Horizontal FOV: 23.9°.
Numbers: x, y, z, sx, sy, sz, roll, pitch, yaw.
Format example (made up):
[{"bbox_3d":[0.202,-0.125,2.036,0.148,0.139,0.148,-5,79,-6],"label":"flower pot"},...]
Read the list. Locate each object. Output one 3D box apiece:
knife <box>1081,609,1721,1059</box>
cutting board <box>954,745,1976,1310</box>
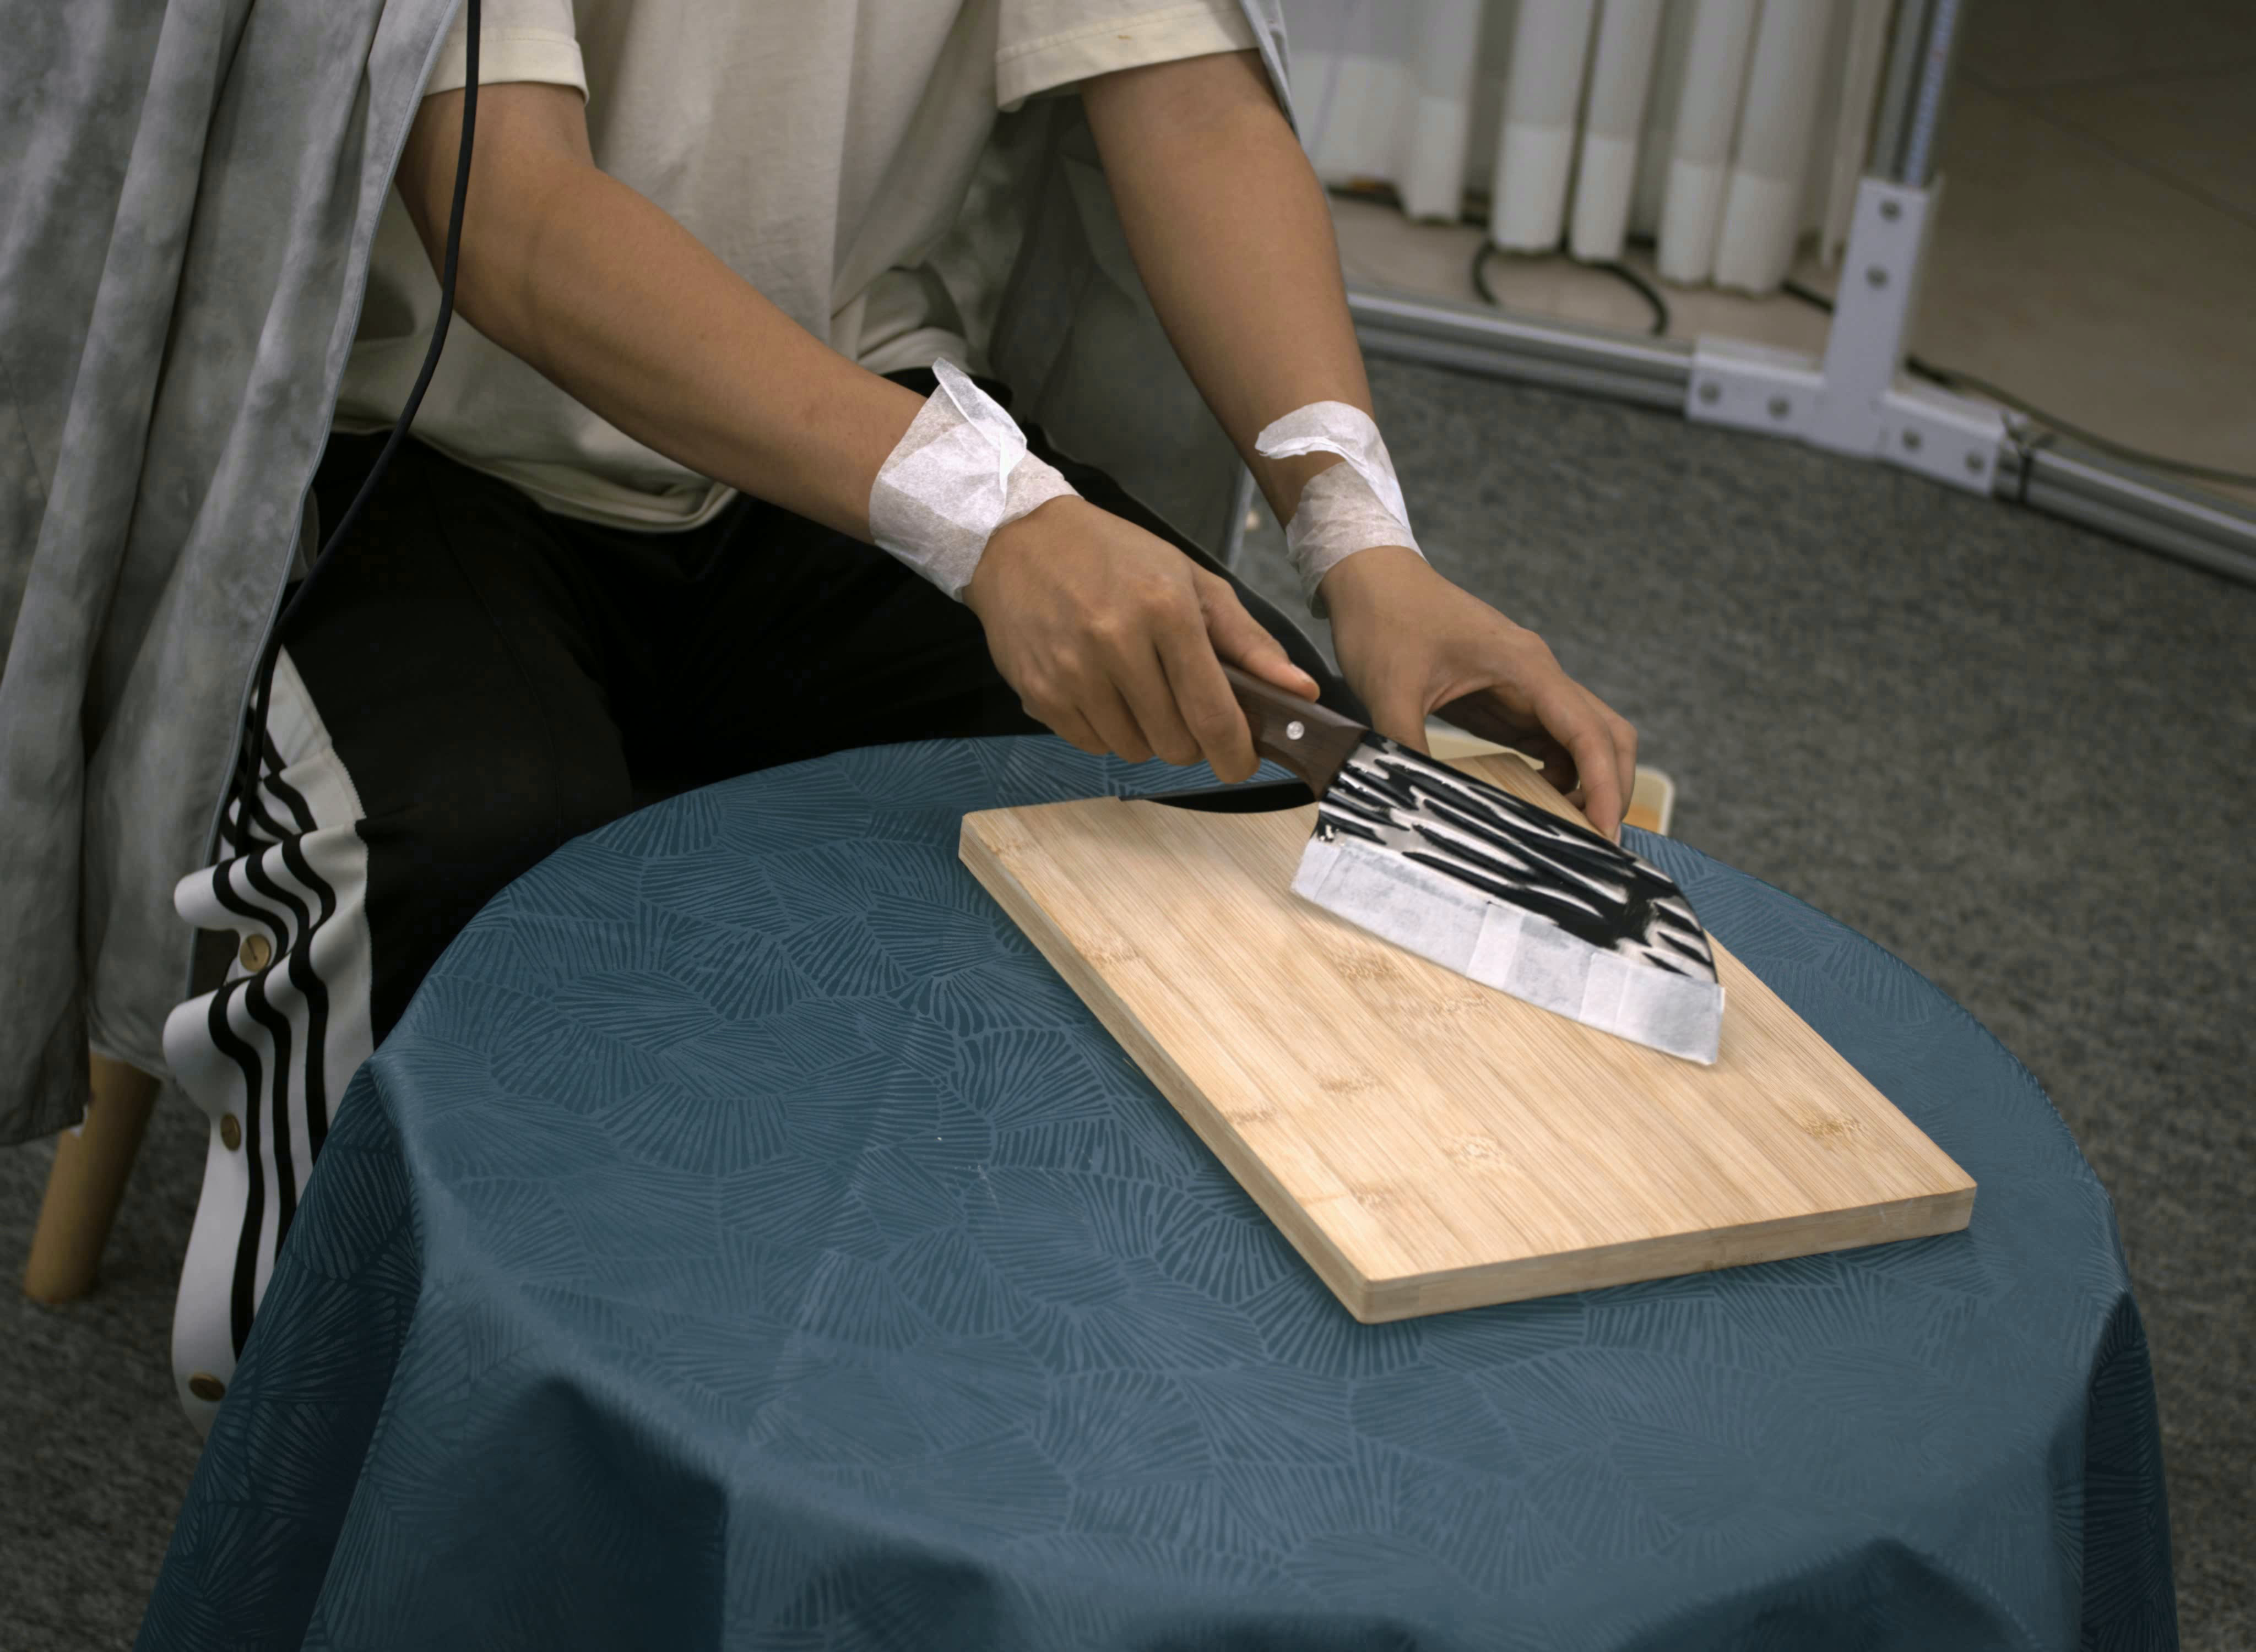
[{"bbox_3d":[0.096,0.002,1.951,0.301,0.068,0.024,27,2,26],"label":"knife"},{"bbox_3d":[0.113,0.066,1.926,0.249,0.023,0.352,-7,30,-25],"label":"cutting board"}]
